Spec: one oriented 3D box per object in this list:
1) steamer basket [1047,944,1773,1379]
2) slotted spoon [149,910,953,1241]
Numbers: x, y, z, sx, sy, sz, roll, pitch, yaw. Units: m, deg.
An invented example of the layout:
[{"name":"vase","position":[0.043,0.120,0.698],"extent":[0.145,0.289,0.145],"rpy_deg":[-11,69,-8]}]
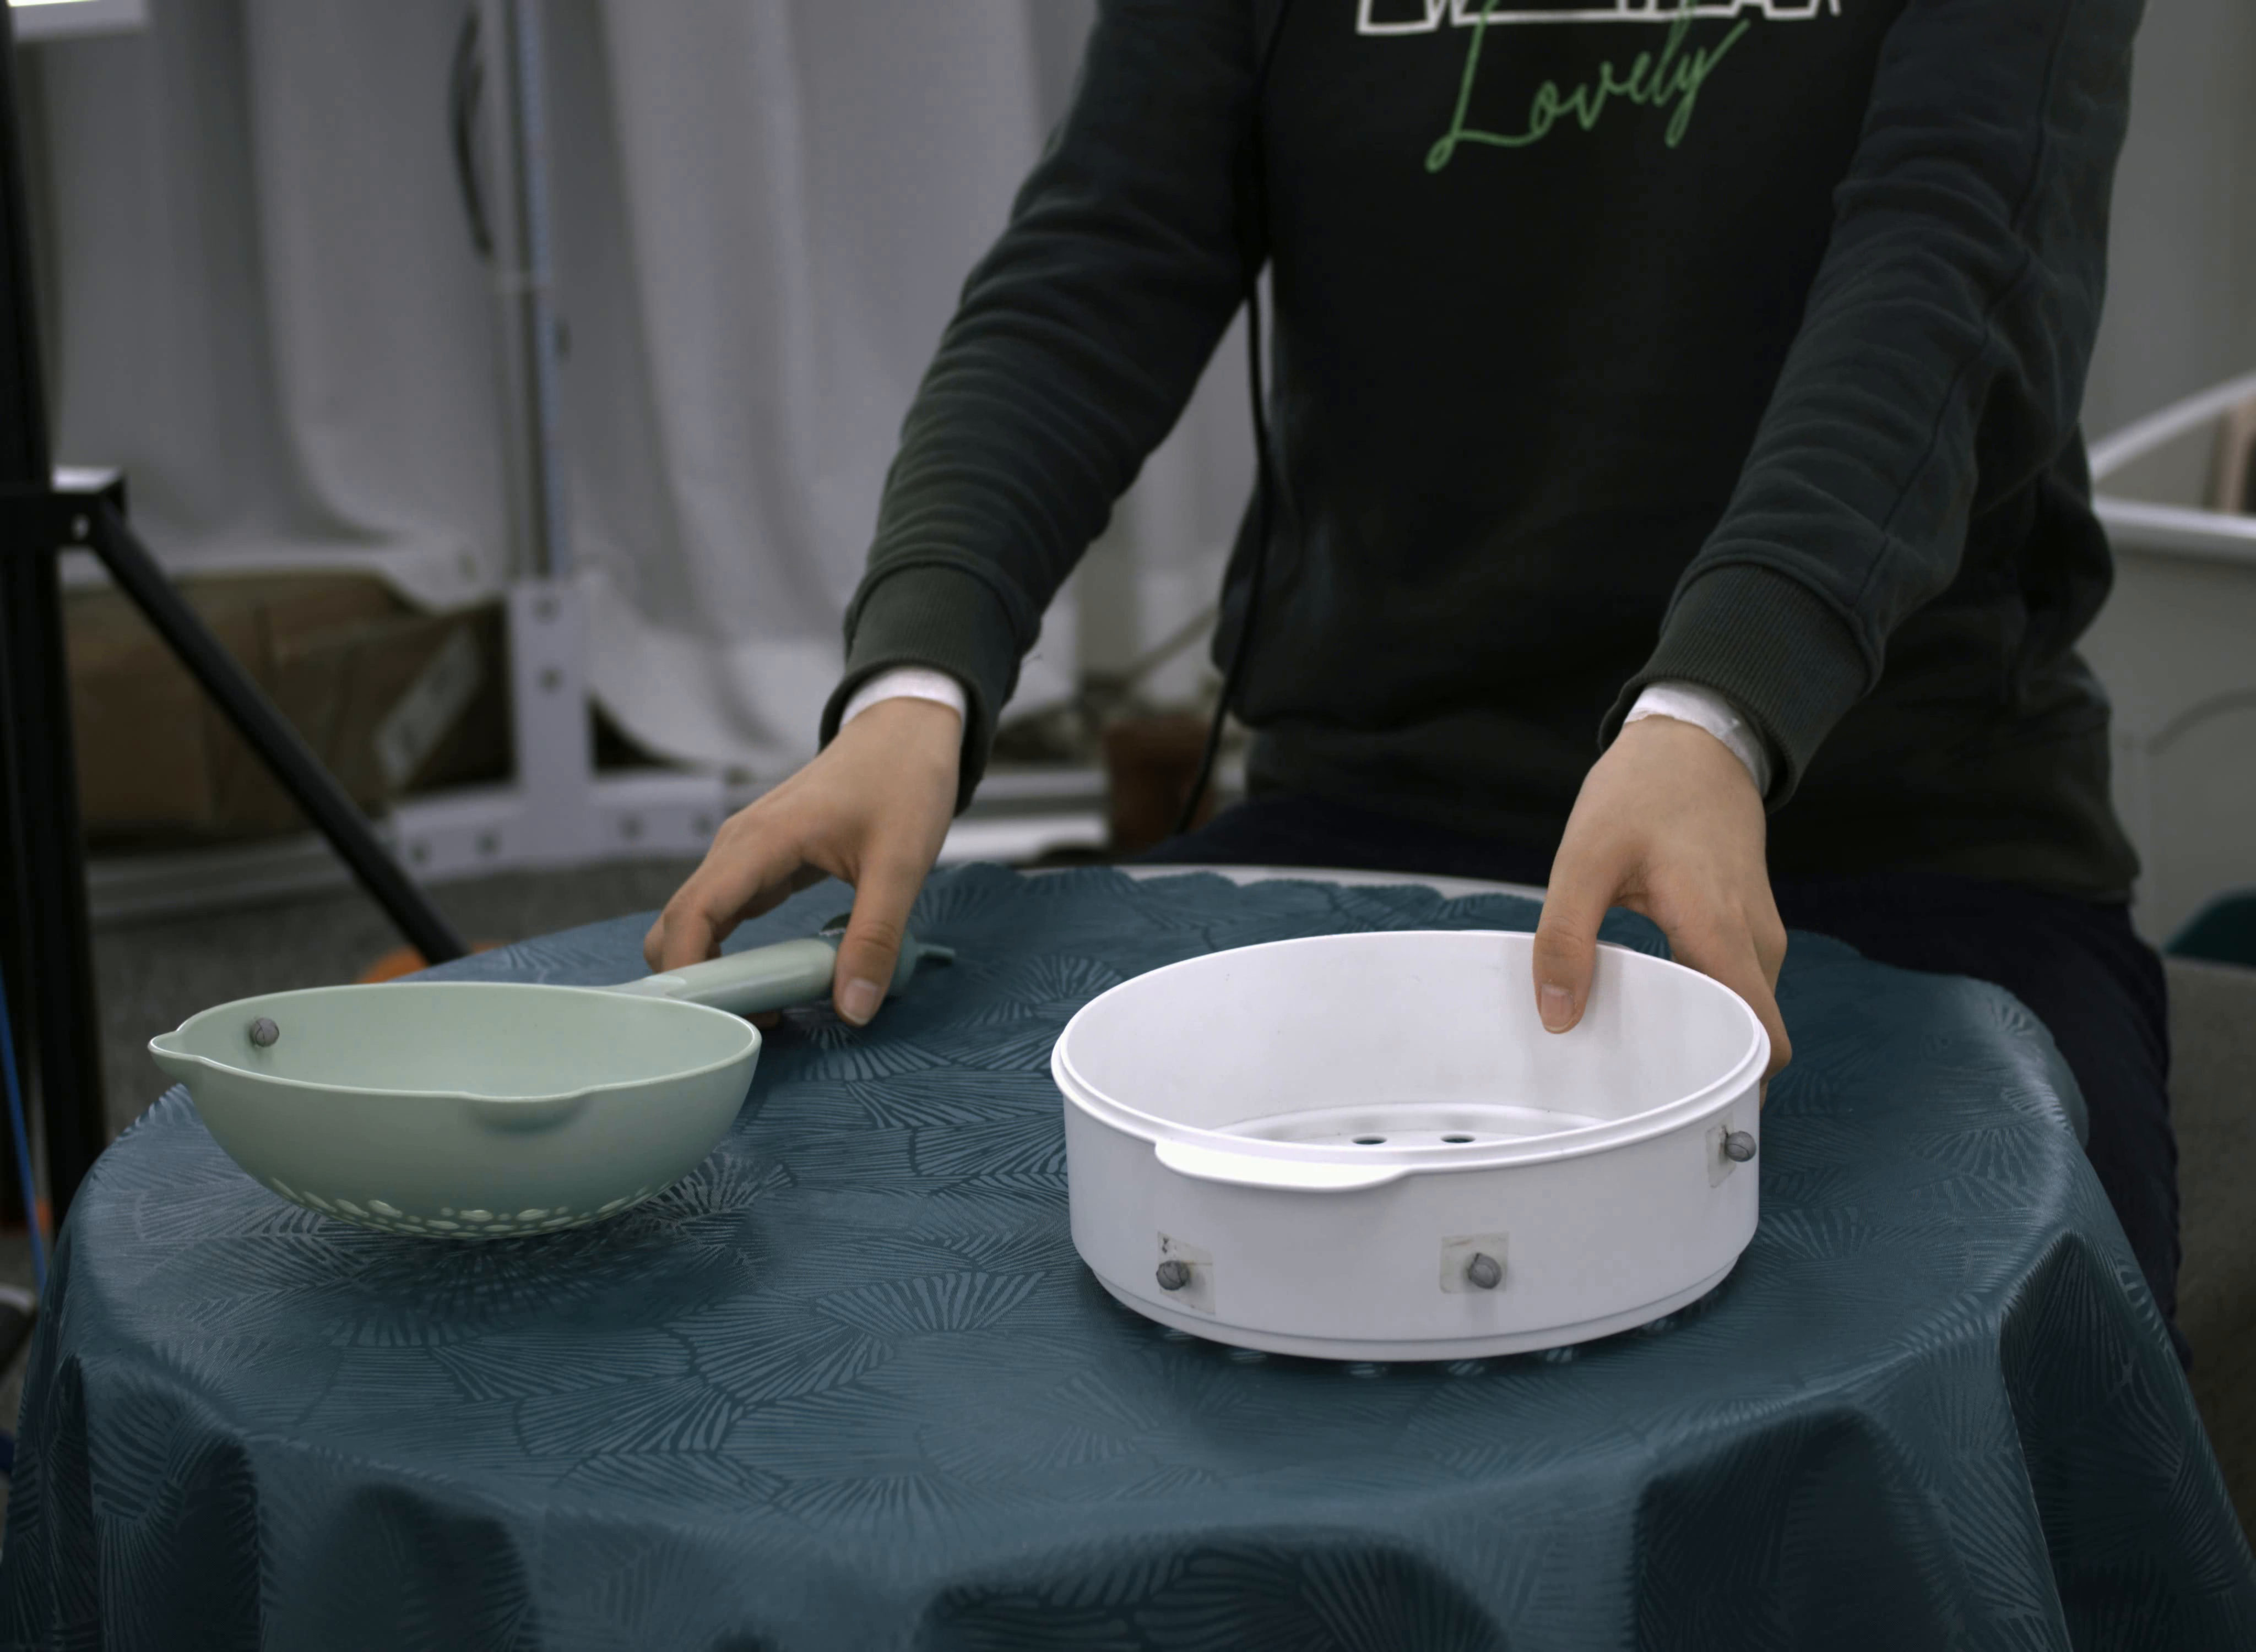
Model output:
[{"name":"steamer basket","position":[0.078,0.093,1.480],"extent":[0.205,0.069,0.227],"rpy_deg":[5,17,23]},{"name":"slotted spoon","position":[-0.146,0.060,1.631],"extent":[0.172,0.075,0.353],"rpy_deg":[6,18,27]}]
